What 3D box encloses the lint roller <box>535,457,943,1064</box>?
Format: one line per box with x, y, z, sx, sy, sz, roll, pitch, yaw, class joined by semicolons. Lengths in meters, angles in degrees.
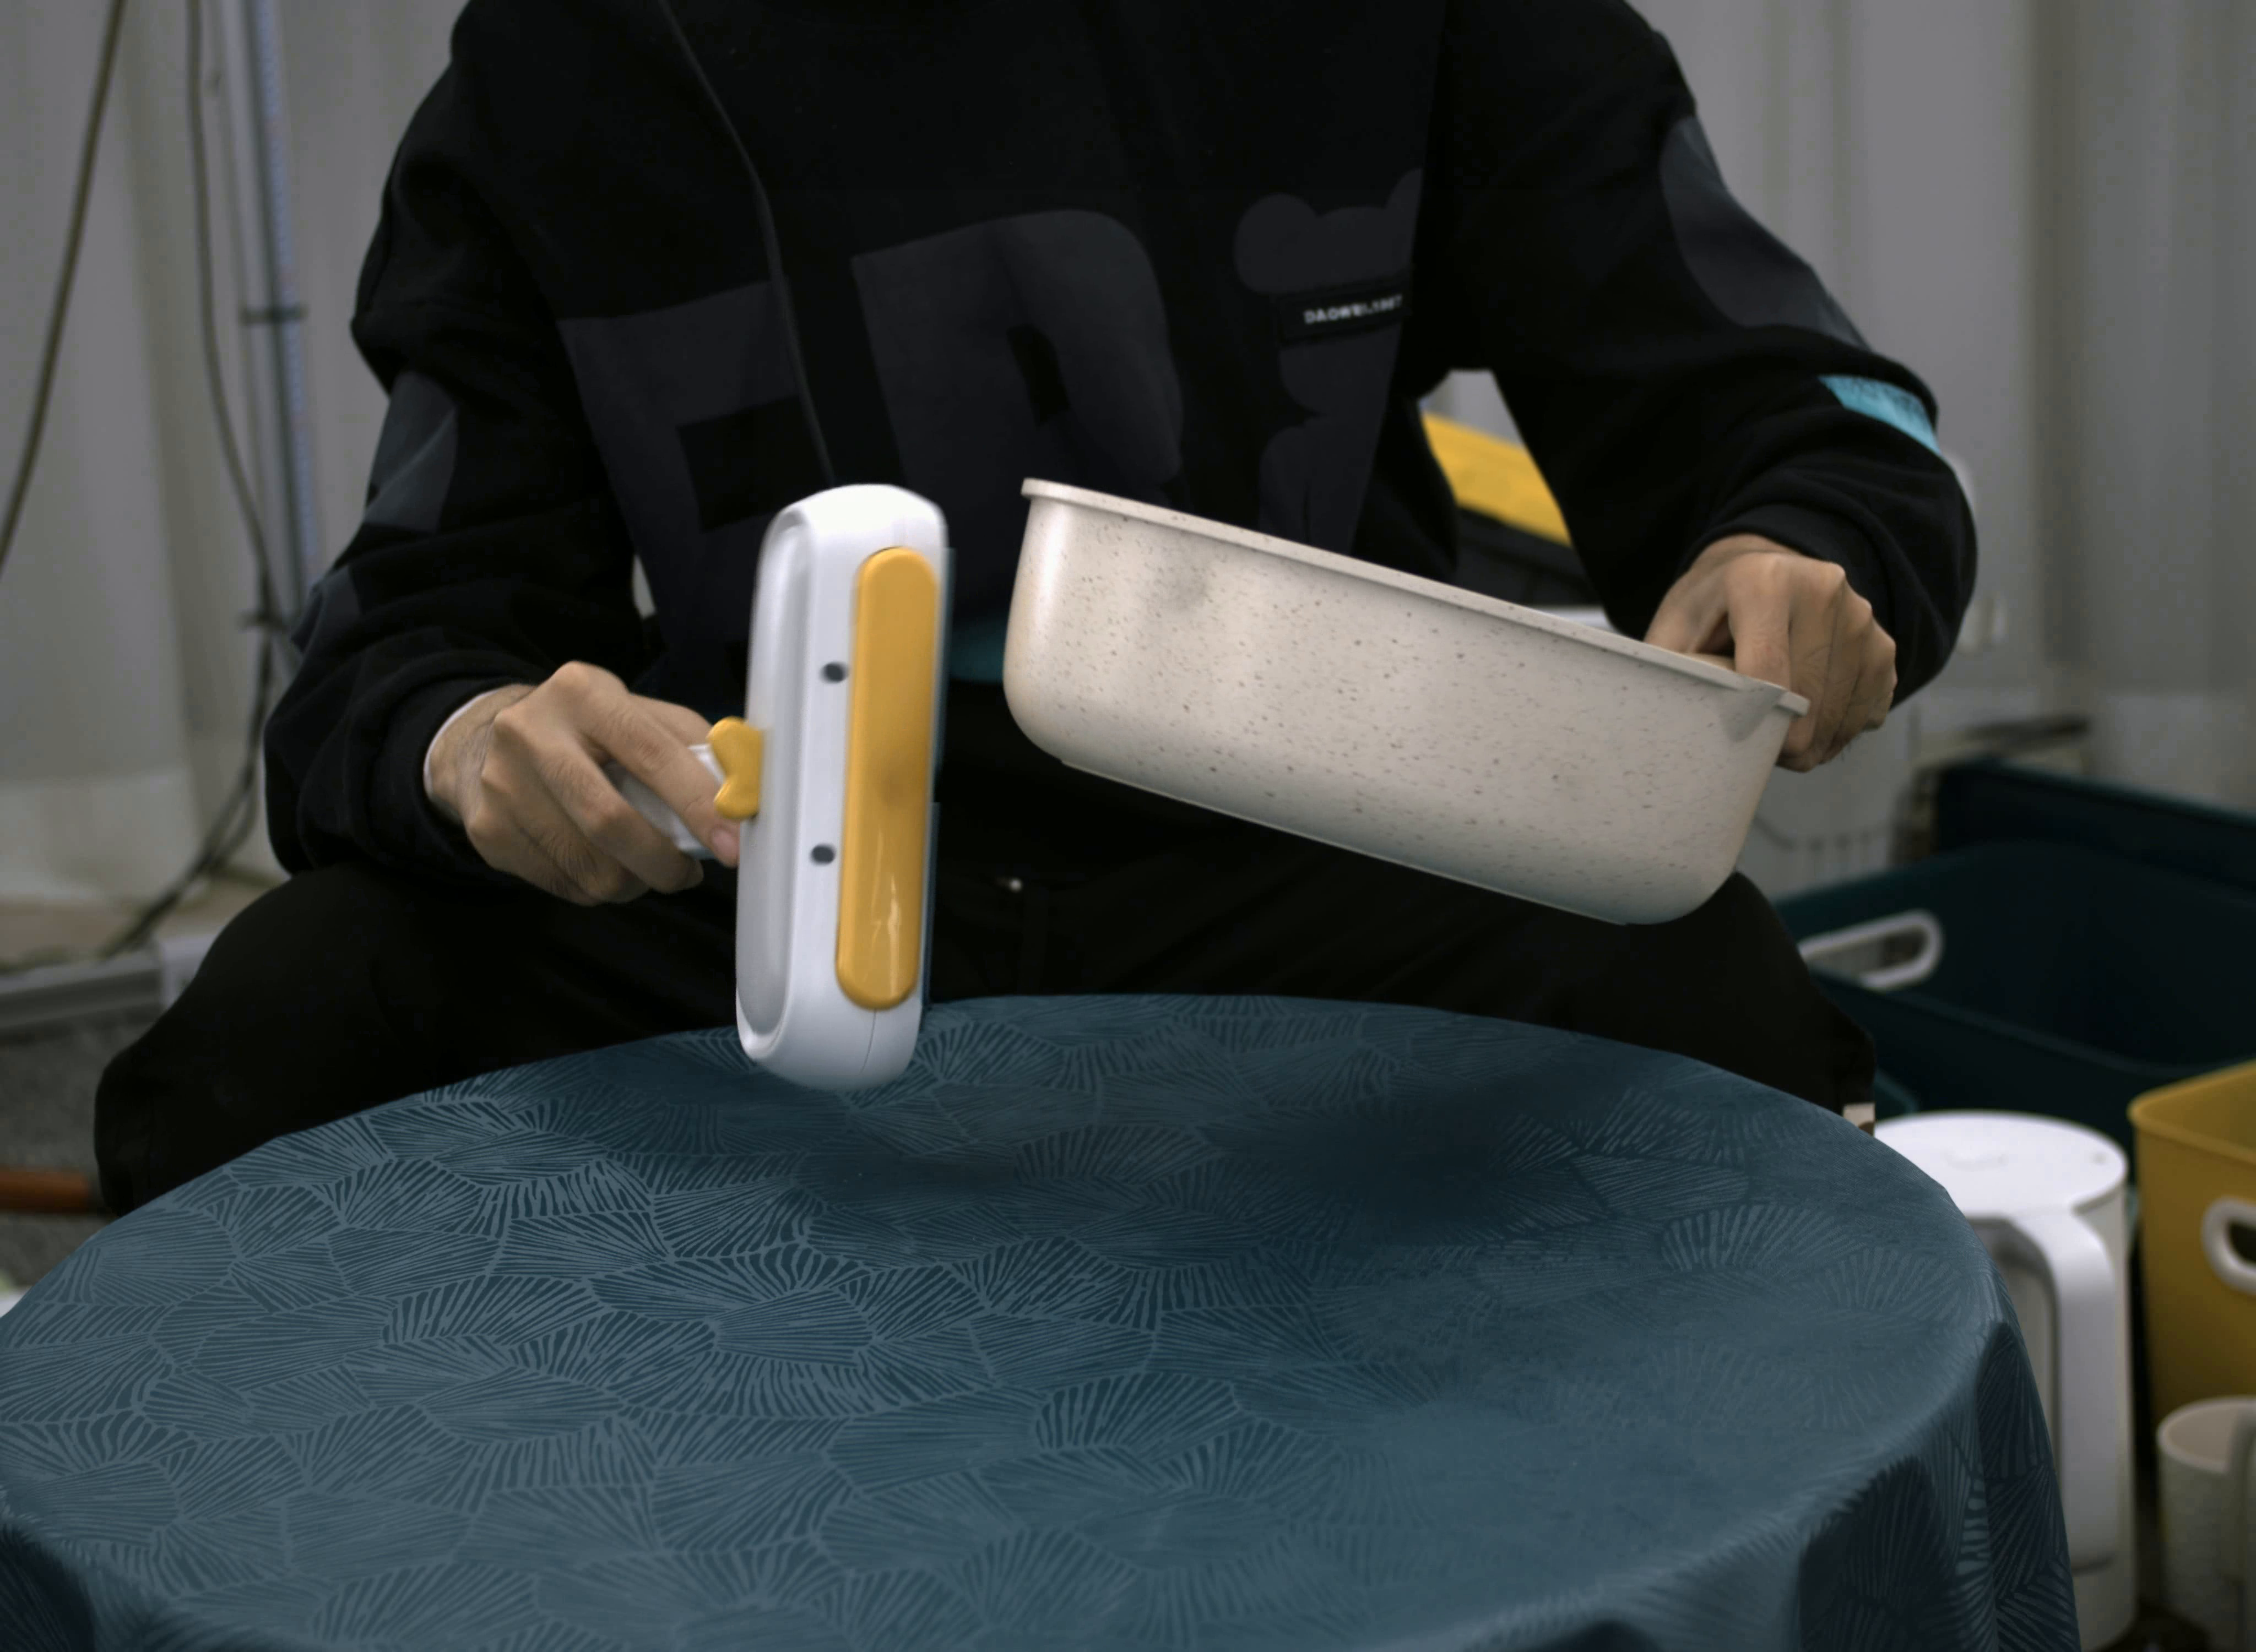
-0.126;-0.014;1.781;0.073;0.194;0.192;4;-11;-32;lint roller

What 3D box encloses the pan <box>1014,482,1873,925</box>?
0.131;-0.028;1.760;0.265;0.102;0.431;14;0;34;pan
